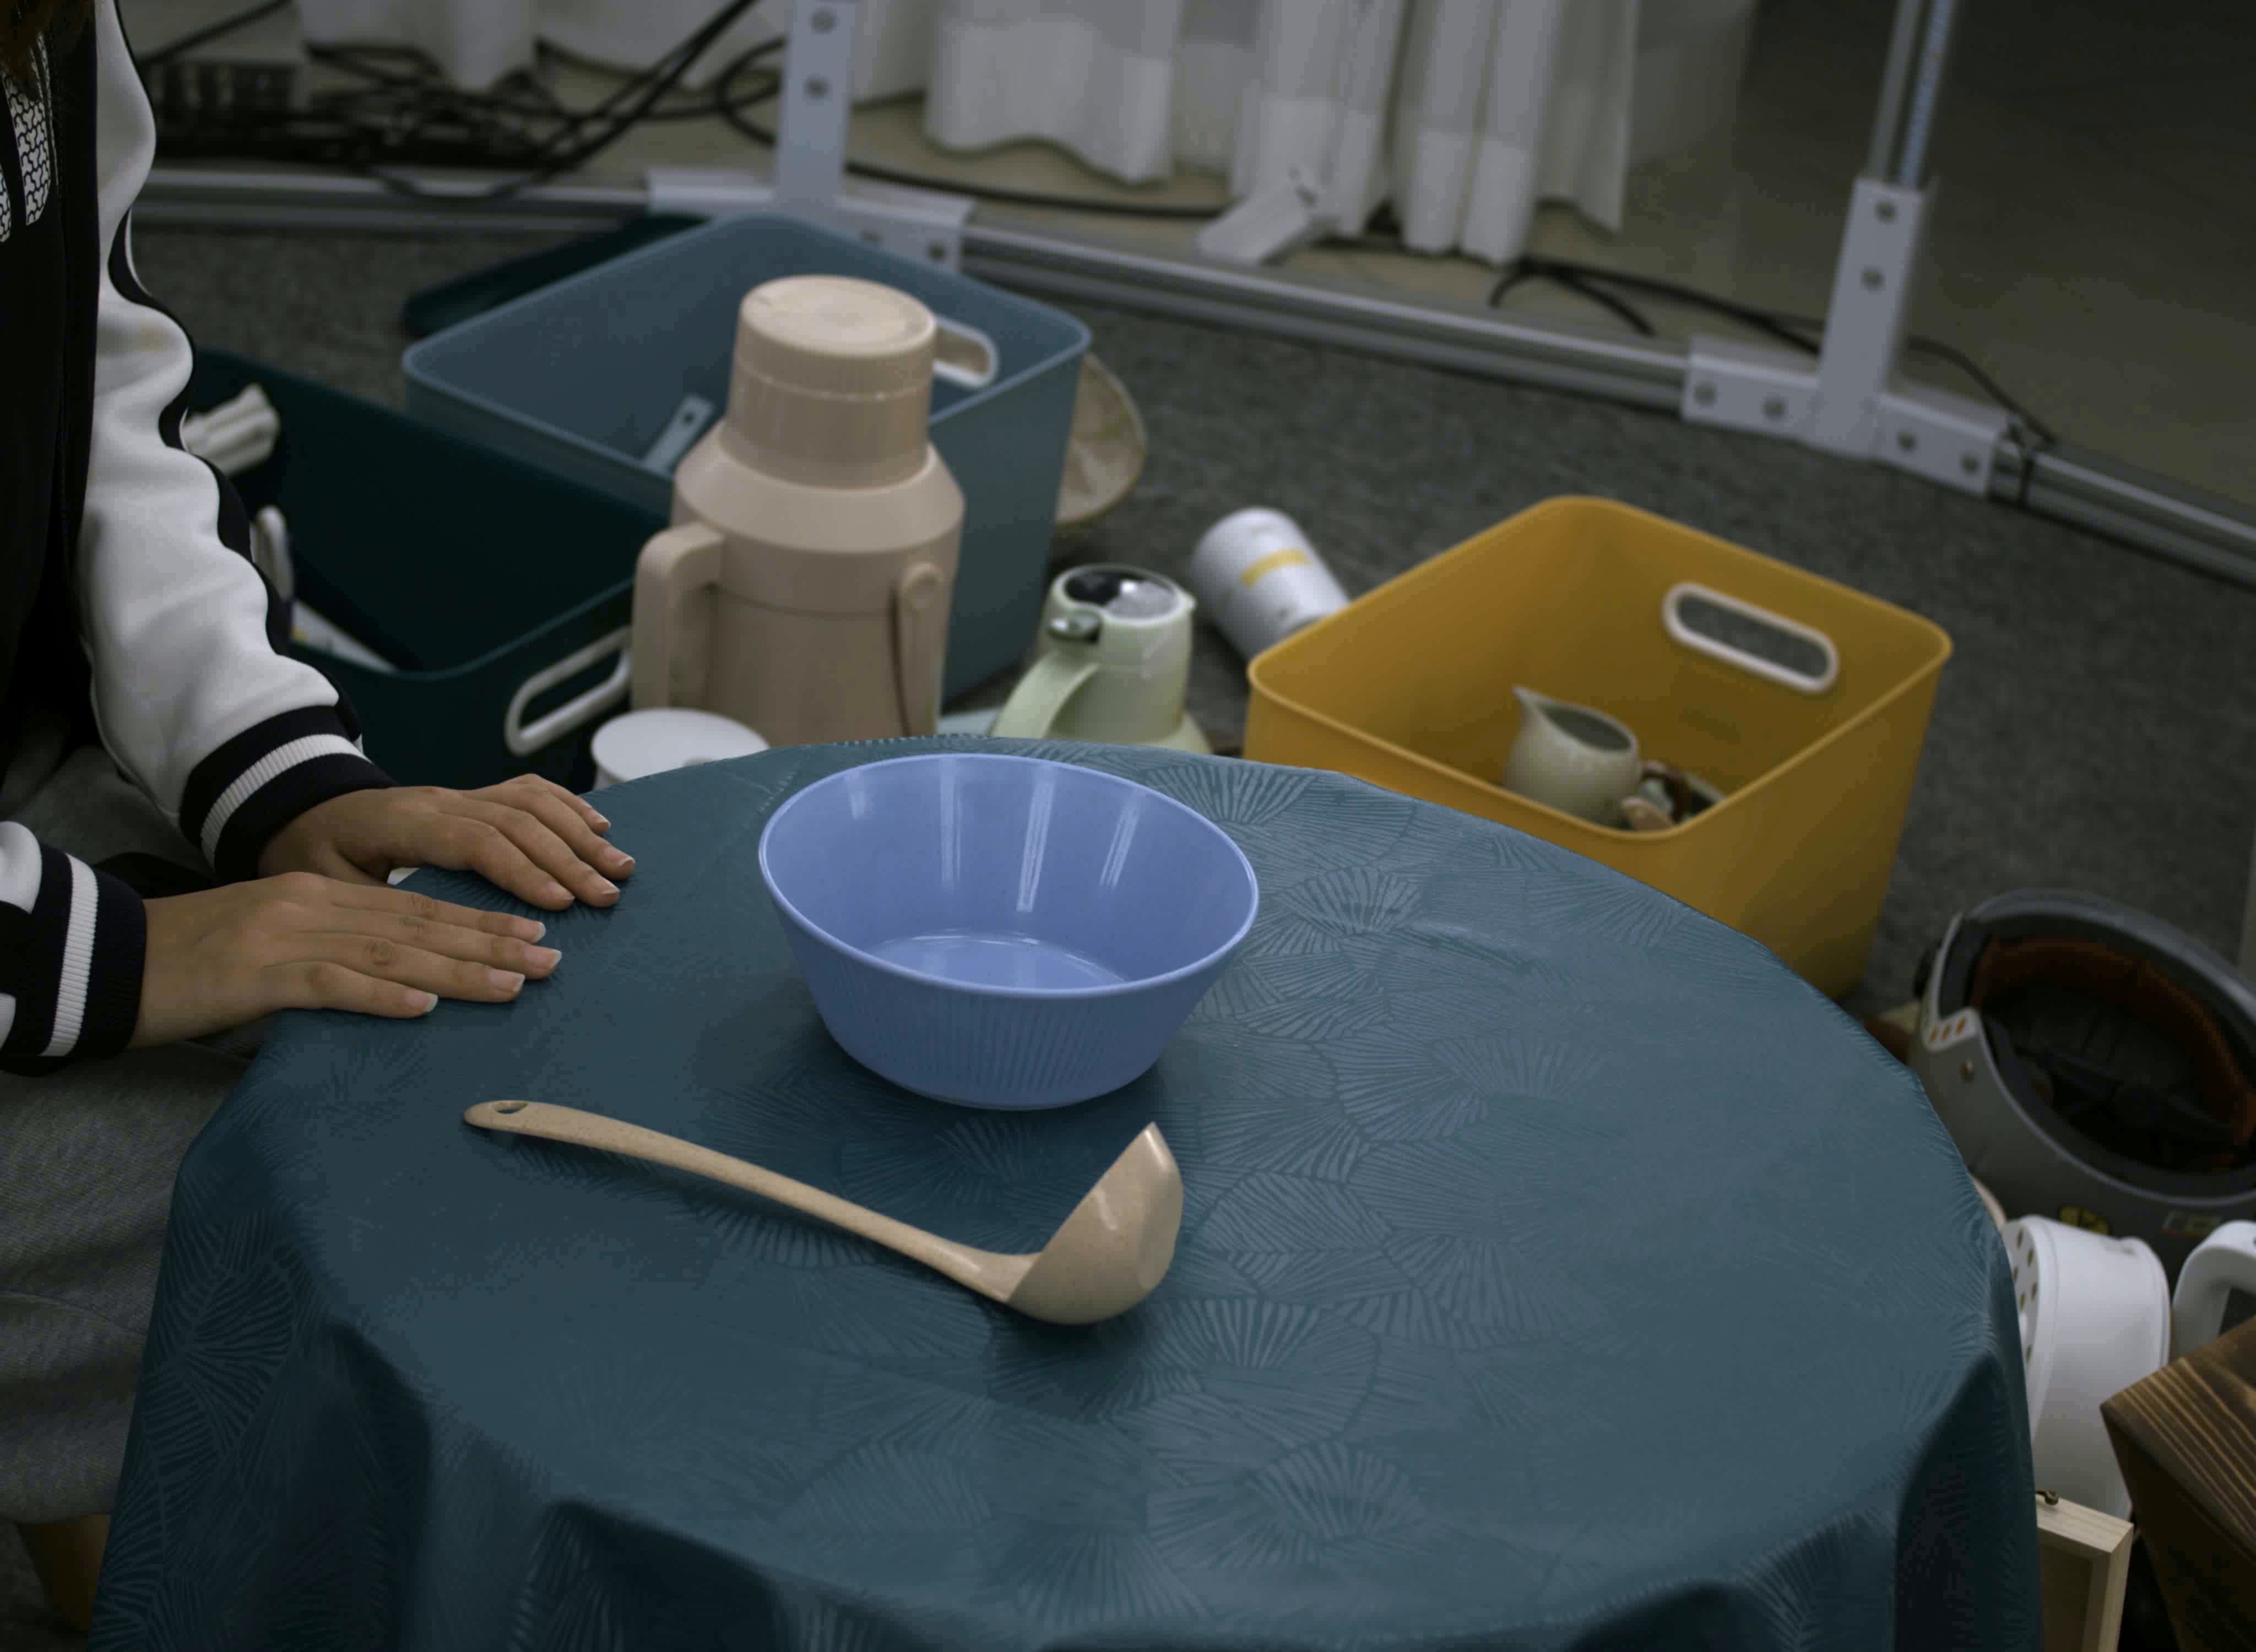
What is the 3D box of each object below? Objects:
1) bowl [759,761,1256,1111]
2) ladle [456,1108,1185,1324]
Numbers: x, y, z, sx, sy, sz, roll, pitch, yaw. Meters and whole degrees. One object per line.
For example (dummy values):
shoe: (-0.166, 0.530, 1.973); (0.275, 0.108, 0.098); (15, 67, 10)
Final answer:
bowl: (-0.045, 0.044, 1.872); (0.175, 0.070, 0.177); (6, 26, -3)
ladle: (-0.105, 0.100, 1.744); (0.255, 0.072, 0.072); (15, 27, 17)
